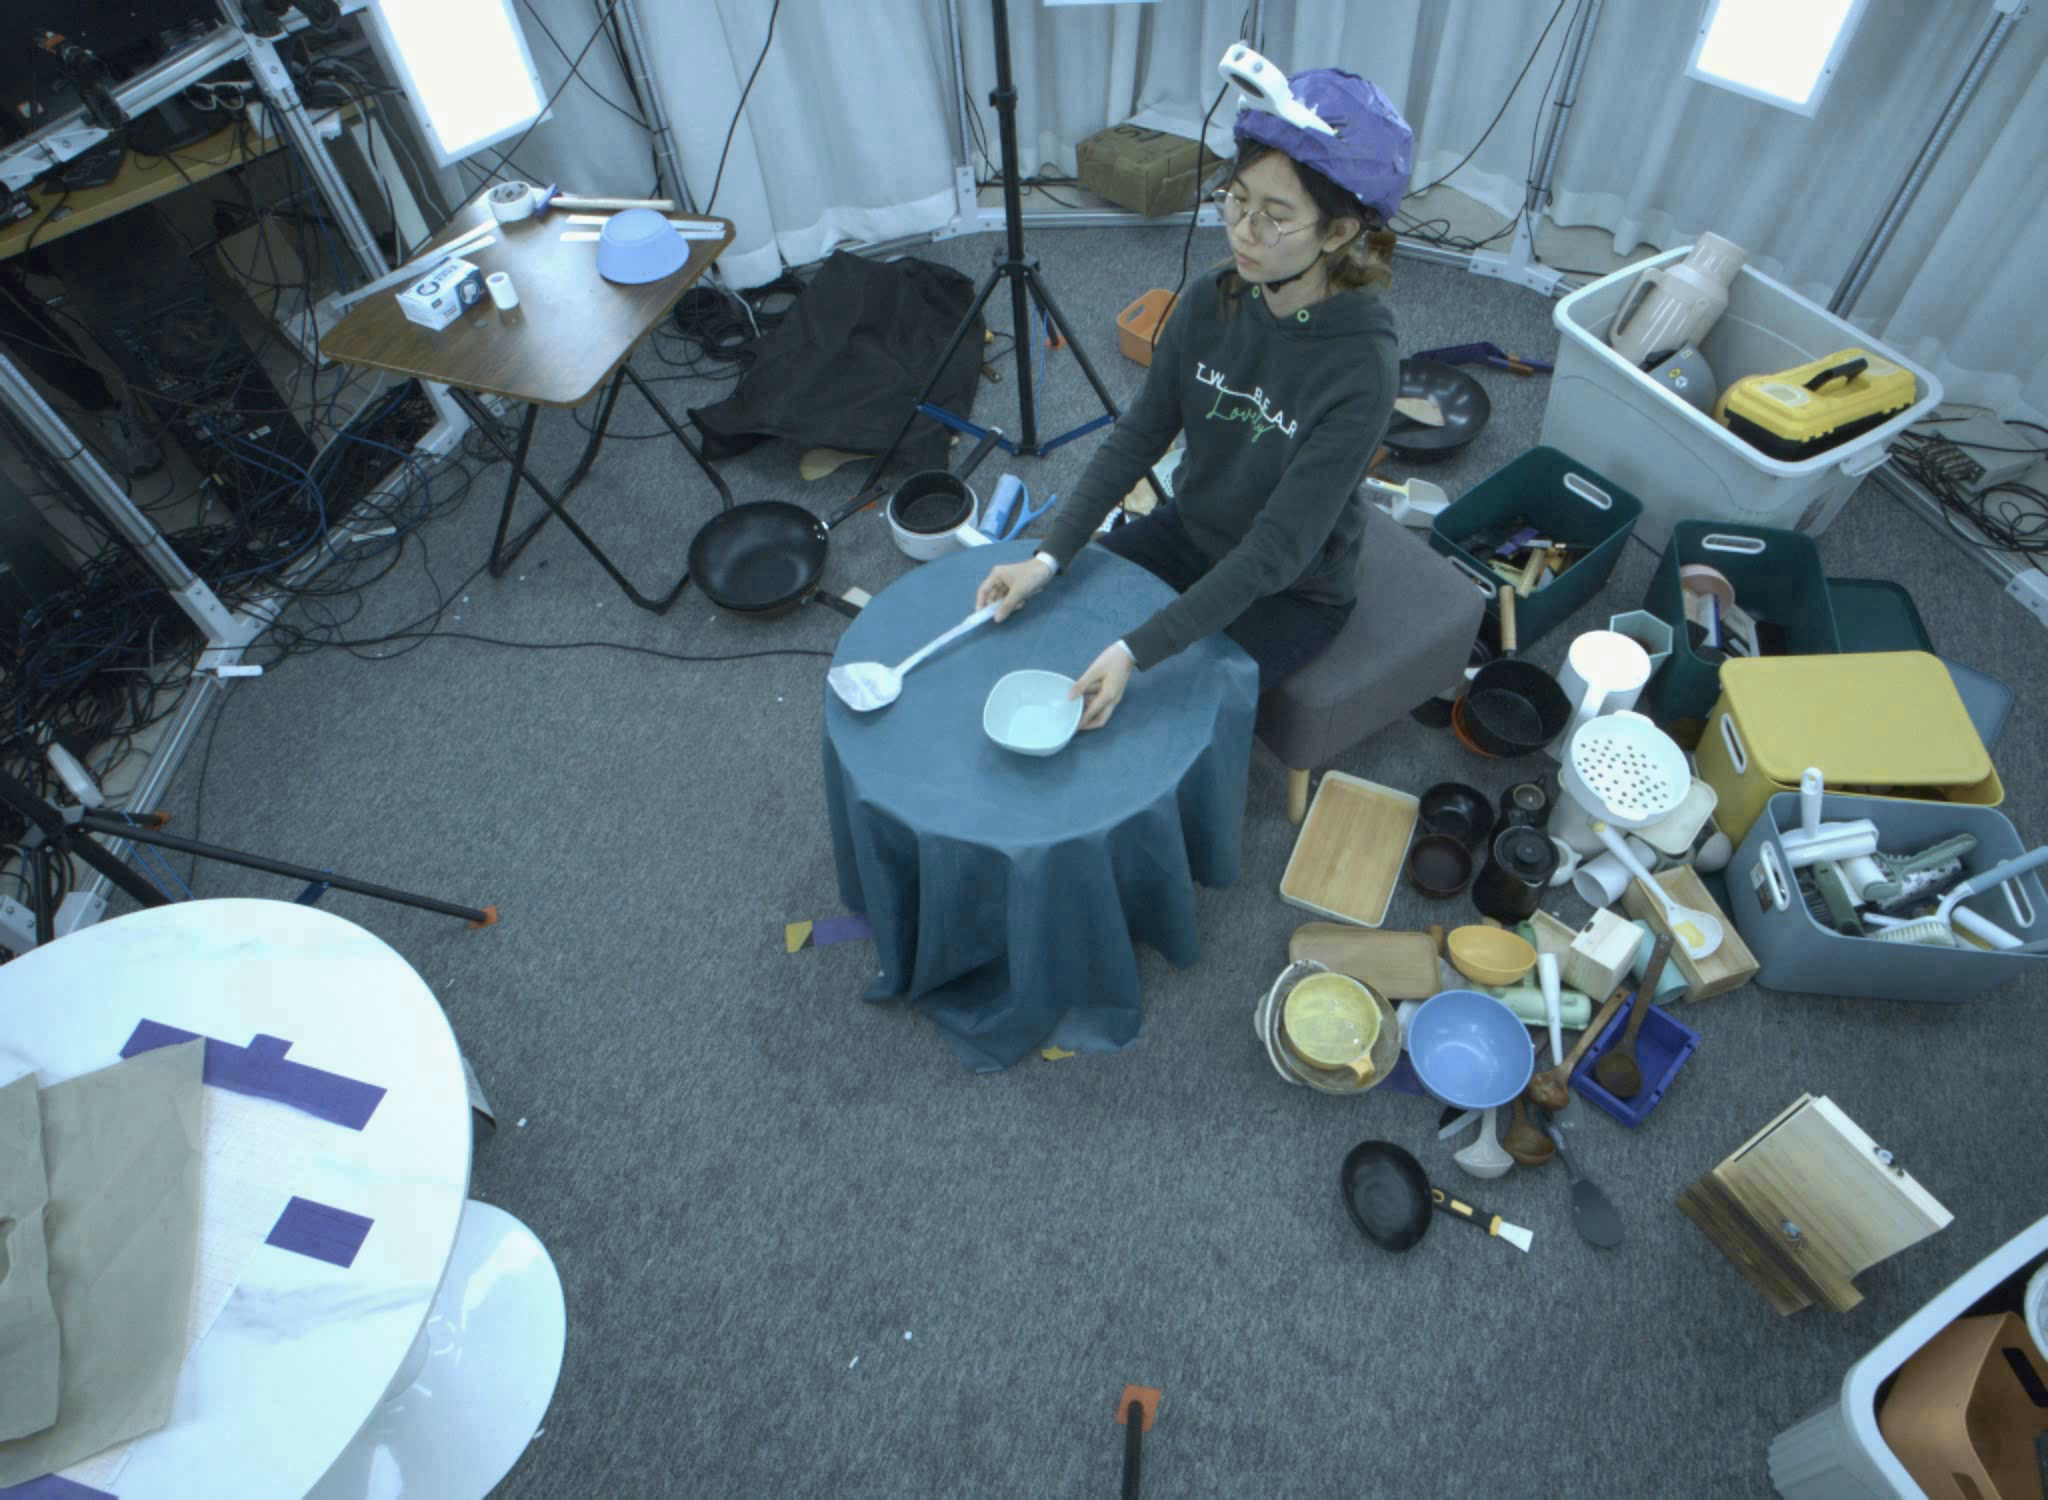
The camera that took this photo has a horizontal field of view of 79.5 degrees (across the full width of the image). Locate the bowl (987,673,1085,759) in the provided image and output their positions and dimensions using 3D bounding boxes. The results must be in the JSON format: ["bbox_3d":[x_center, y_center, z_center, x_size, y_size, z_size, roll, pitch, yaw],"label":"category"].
[{"bbox_3d":[0.021,-0.039,1.787,0.151,0.059,0.150,-3,58,6],"label":"bowl"}]

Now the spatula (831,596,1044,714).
[{"bbox_3d":[-0.125,-0.161,1.884,0.367,0.045,0.097,-33,62,-16],"label":"spatula"}]
